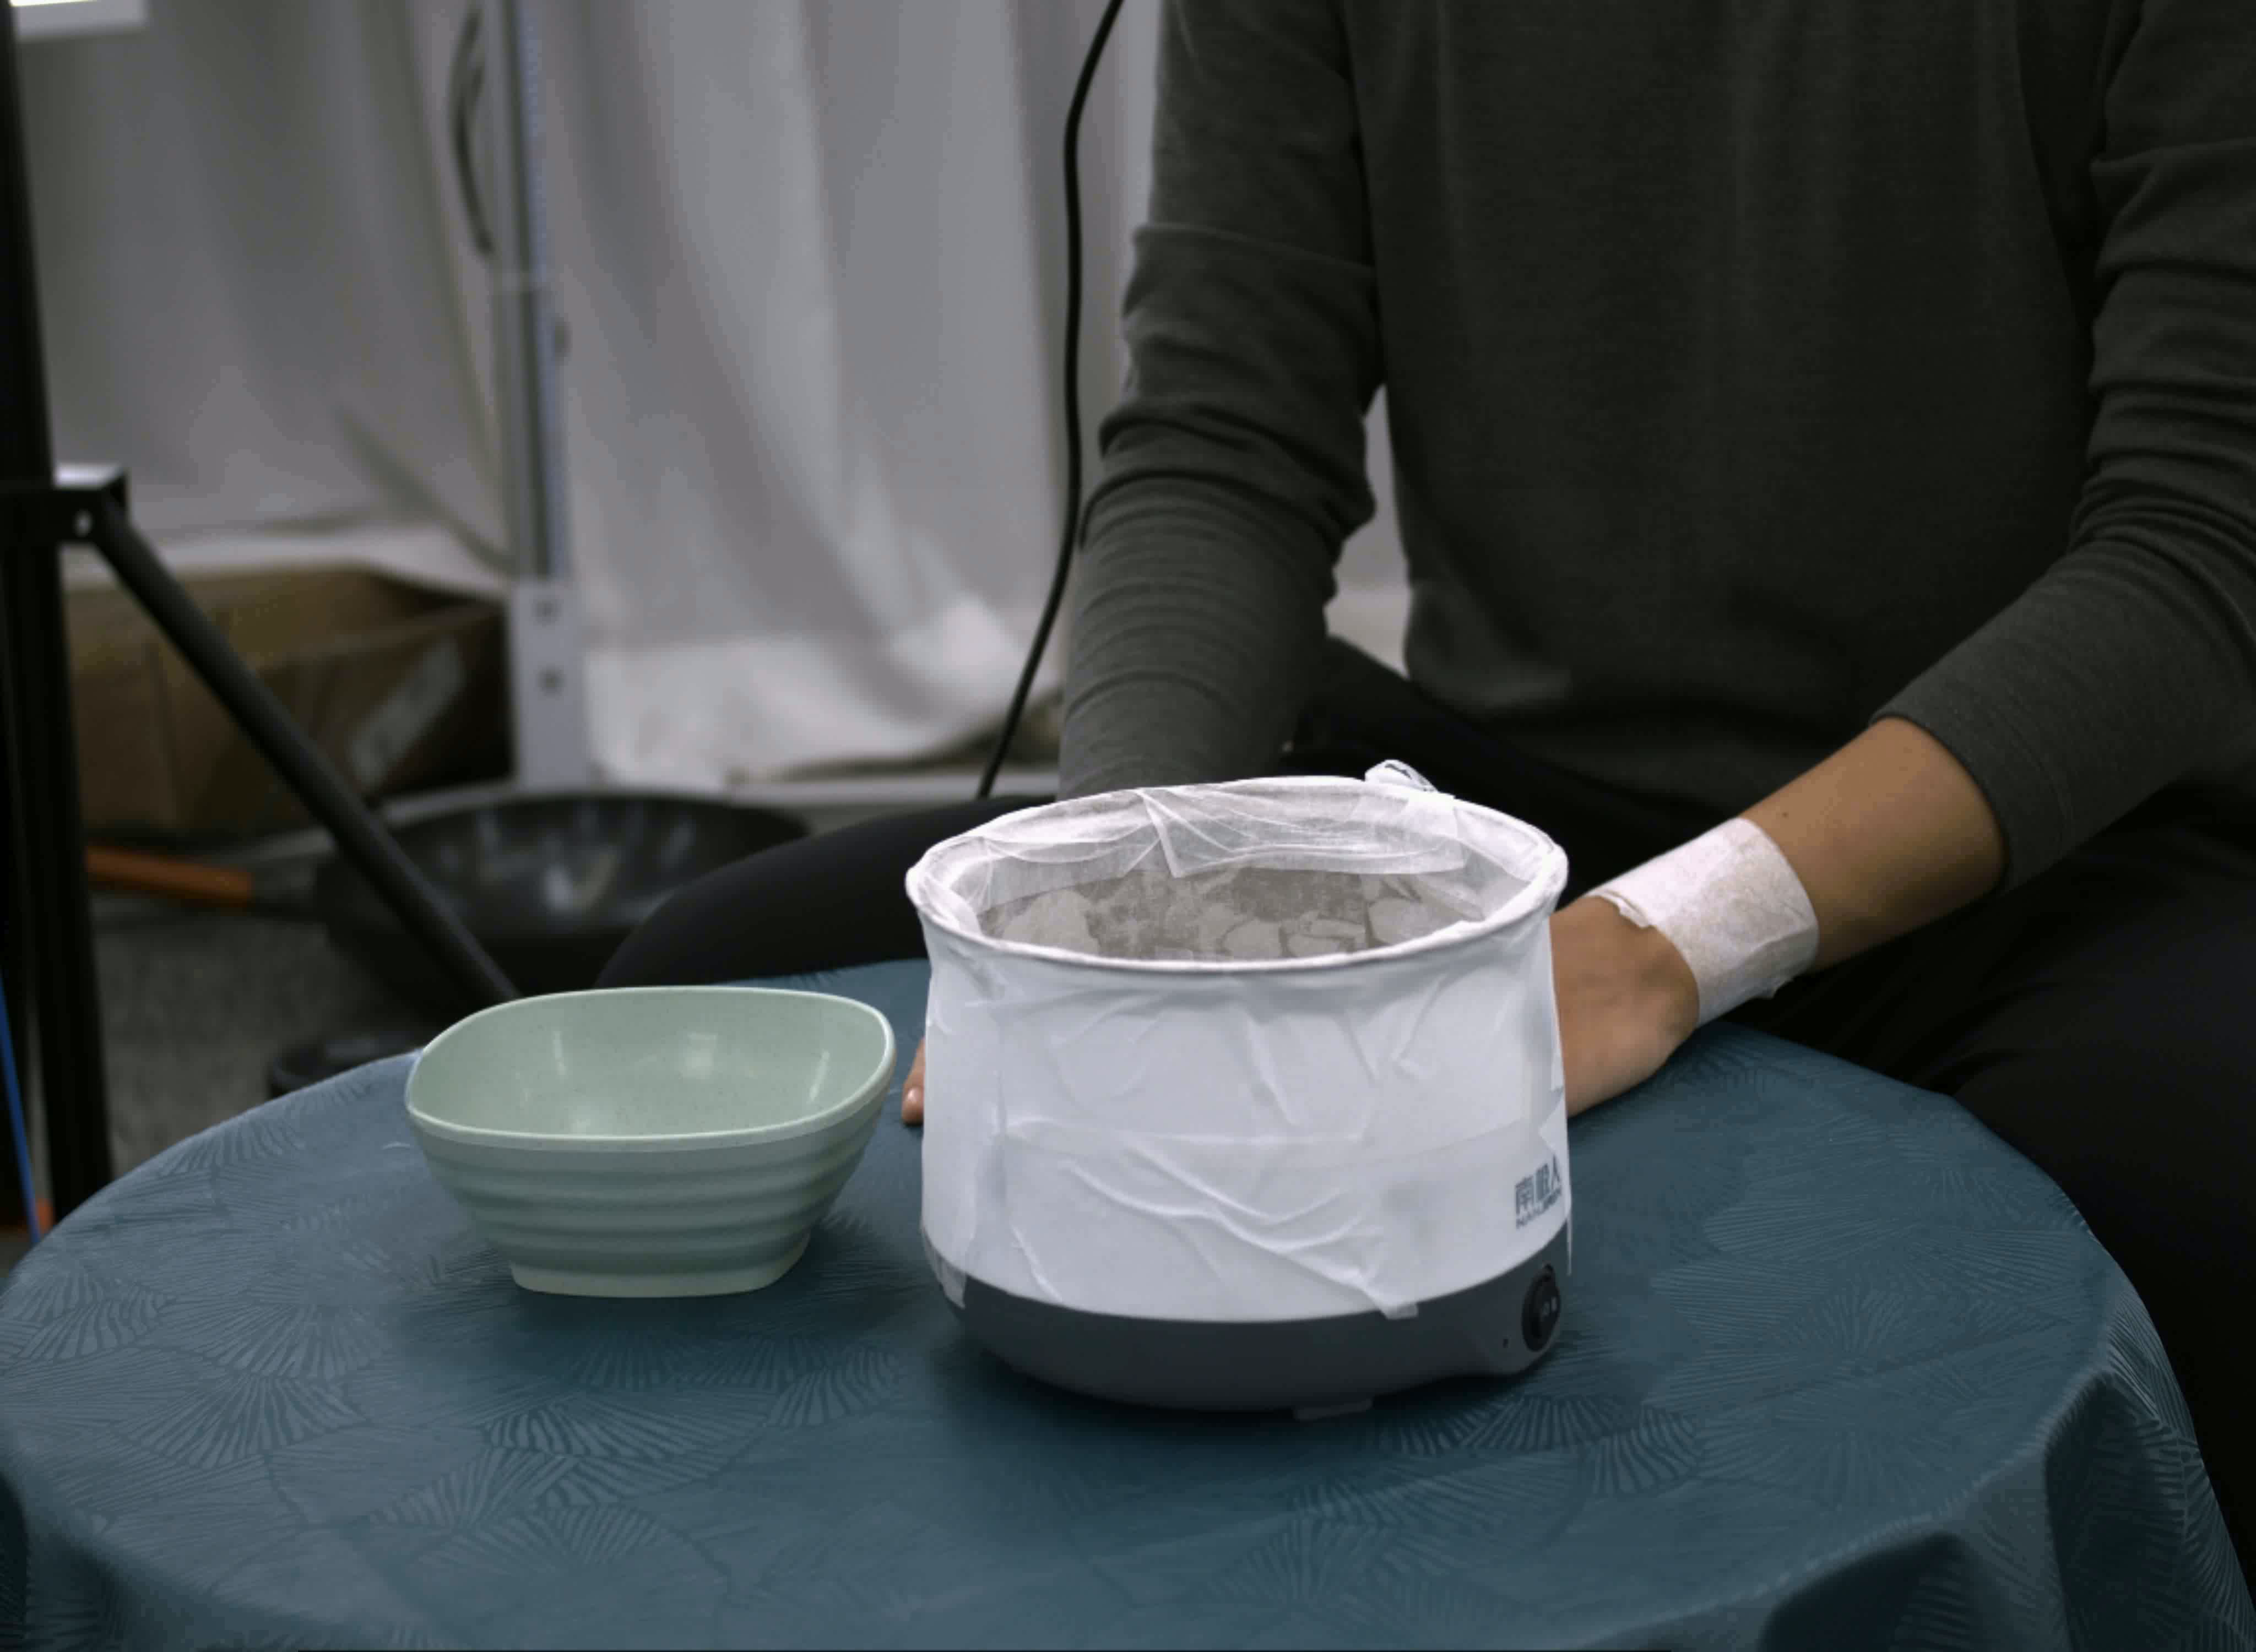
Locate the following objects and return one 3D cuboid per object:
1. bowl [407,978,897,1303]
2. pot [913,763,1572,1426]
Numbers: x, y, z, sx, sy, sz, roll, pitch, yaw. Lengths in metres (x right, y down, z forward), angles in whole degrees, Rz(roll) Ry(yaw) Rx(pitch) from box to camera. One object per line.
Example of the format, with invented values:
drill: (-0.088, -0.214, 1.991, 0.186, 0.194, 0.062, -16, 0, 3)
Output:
bowl: (-0.134, 0.094, 1.530, 0.151, 0.058, 0.152, -3, 17, 0)
pot: (0.044, 0.066, 1.456, 0.181, 0.136, 0.230, 6, 17, 27)
